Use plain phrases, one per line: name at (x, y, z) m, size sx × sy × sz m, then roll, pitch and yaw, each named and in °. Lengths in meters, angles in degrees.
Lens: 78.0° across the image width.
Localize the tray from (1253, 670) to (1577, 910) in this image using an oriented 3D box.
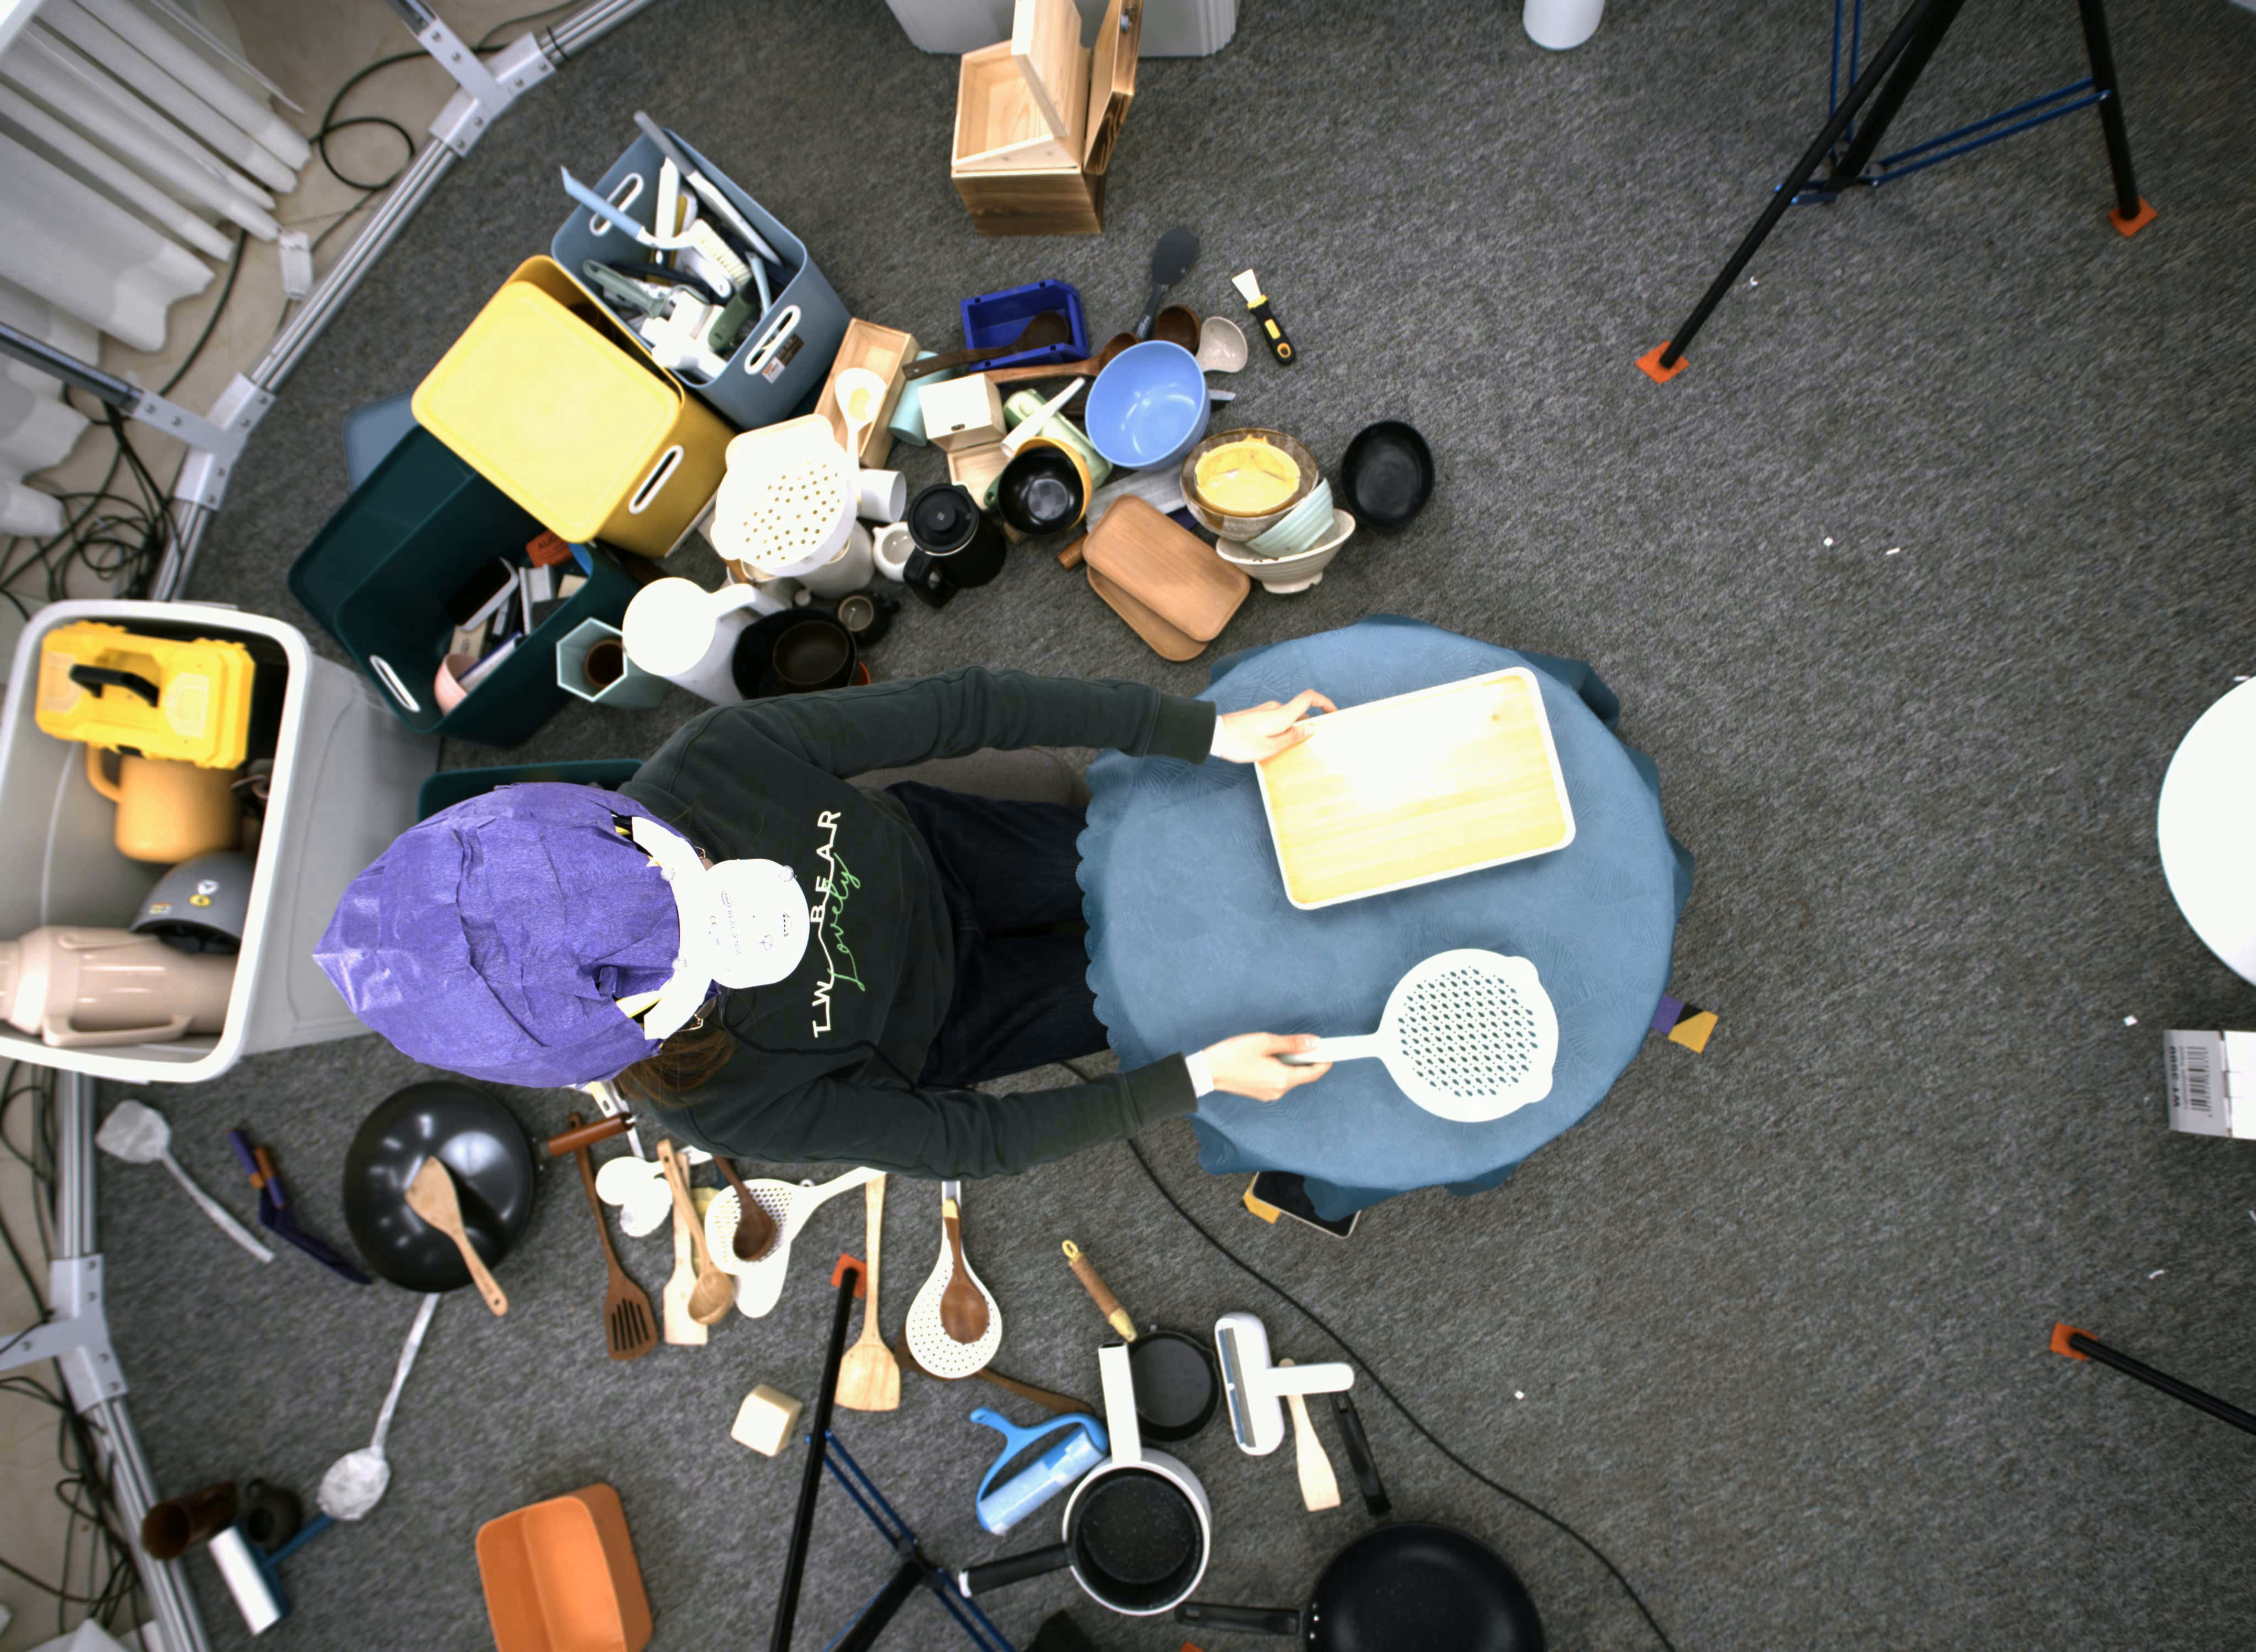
tray at (0.293, -0.038, 1.415) m, size 0.301 × 0.027 × 0.191 m, roll -14°, pitch 87°, yaw 5°

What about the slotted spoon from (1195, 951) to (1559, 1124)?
slotted spoon at (0.246, 0.221, 1.393) m, size 0.360 × 0.075 × 0.168 m, roll -7°, pitch 85°, yaw 4°
